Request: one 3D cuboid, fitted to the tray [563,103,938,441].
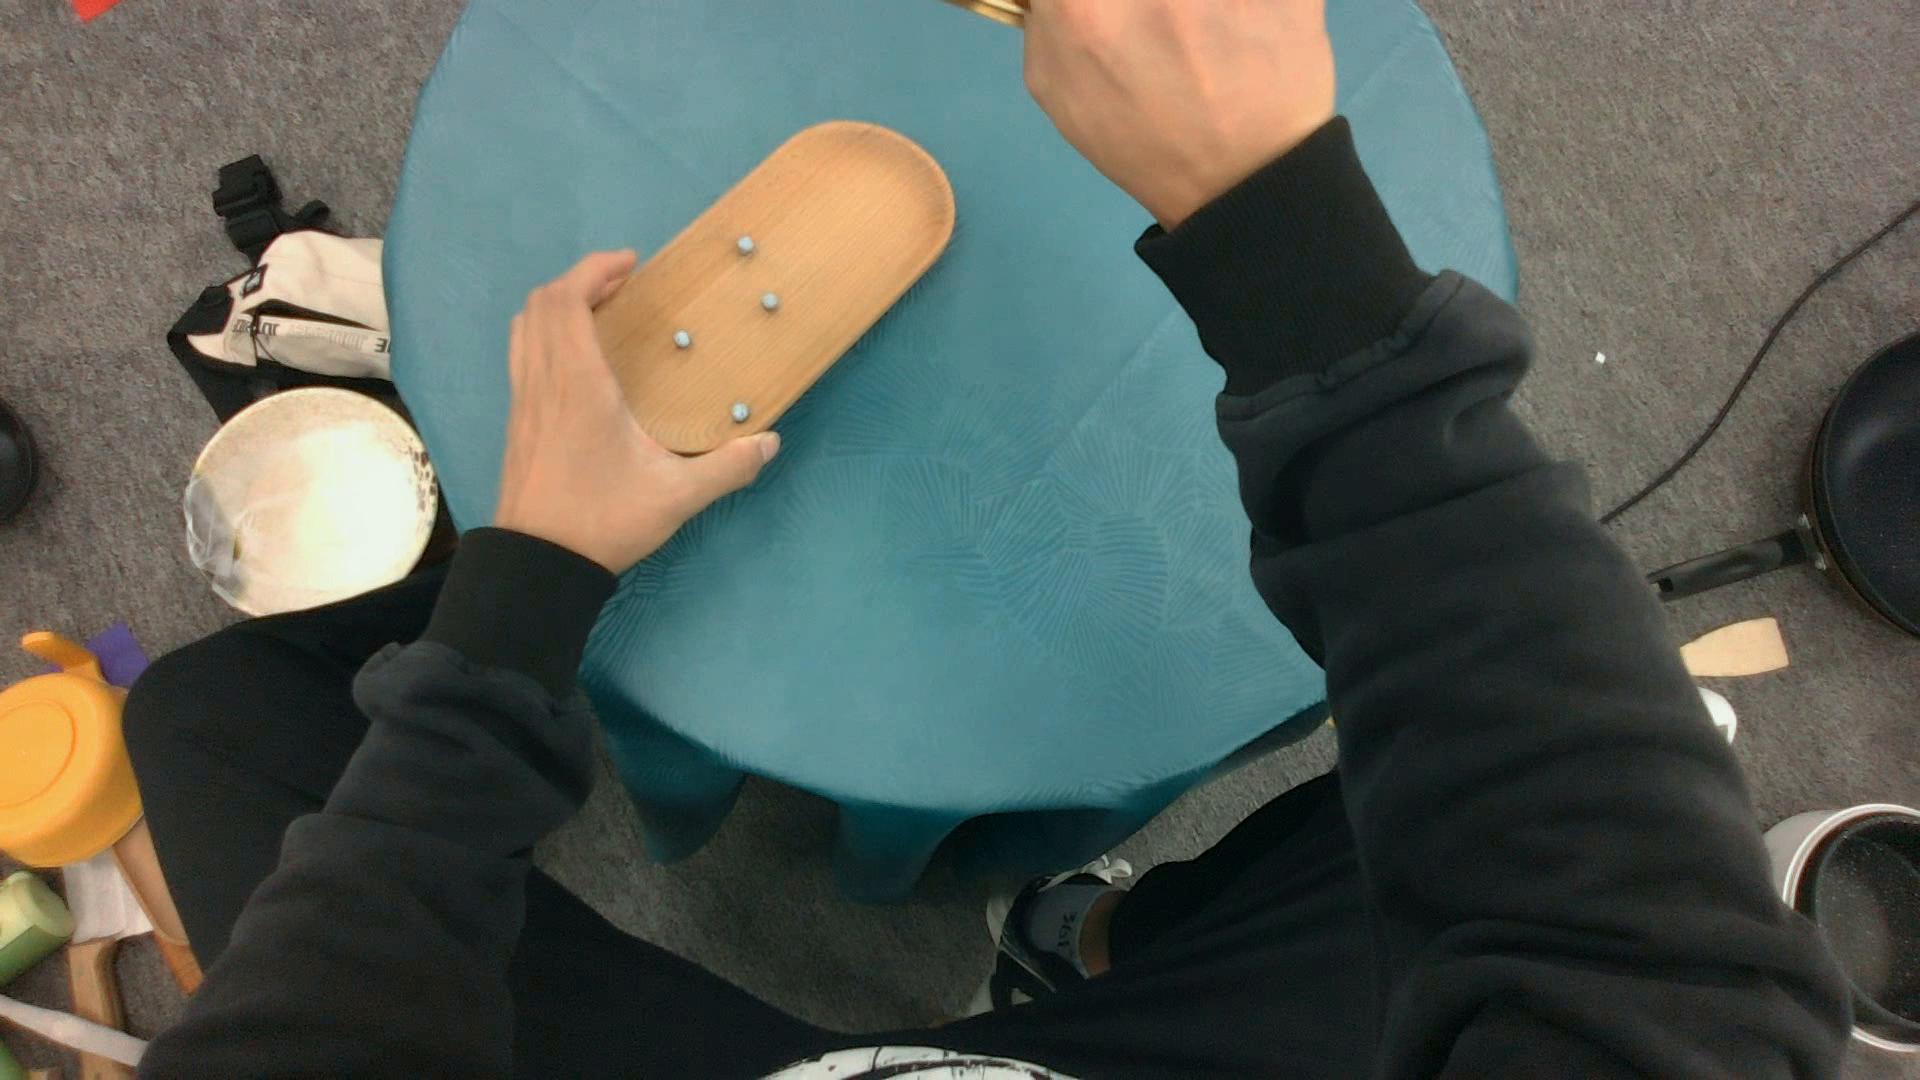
[{"bbox_3d":[-0.100,-0.138,0.689,0.101,0.020,0.232,37,62,4],"label":"tray"}]

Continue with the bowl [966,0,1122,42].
[{"bbox_3d":[-0.029,-0.242,0.452,0.215,0.215,0.094,19,109,-1],"label":"bowl"}]
